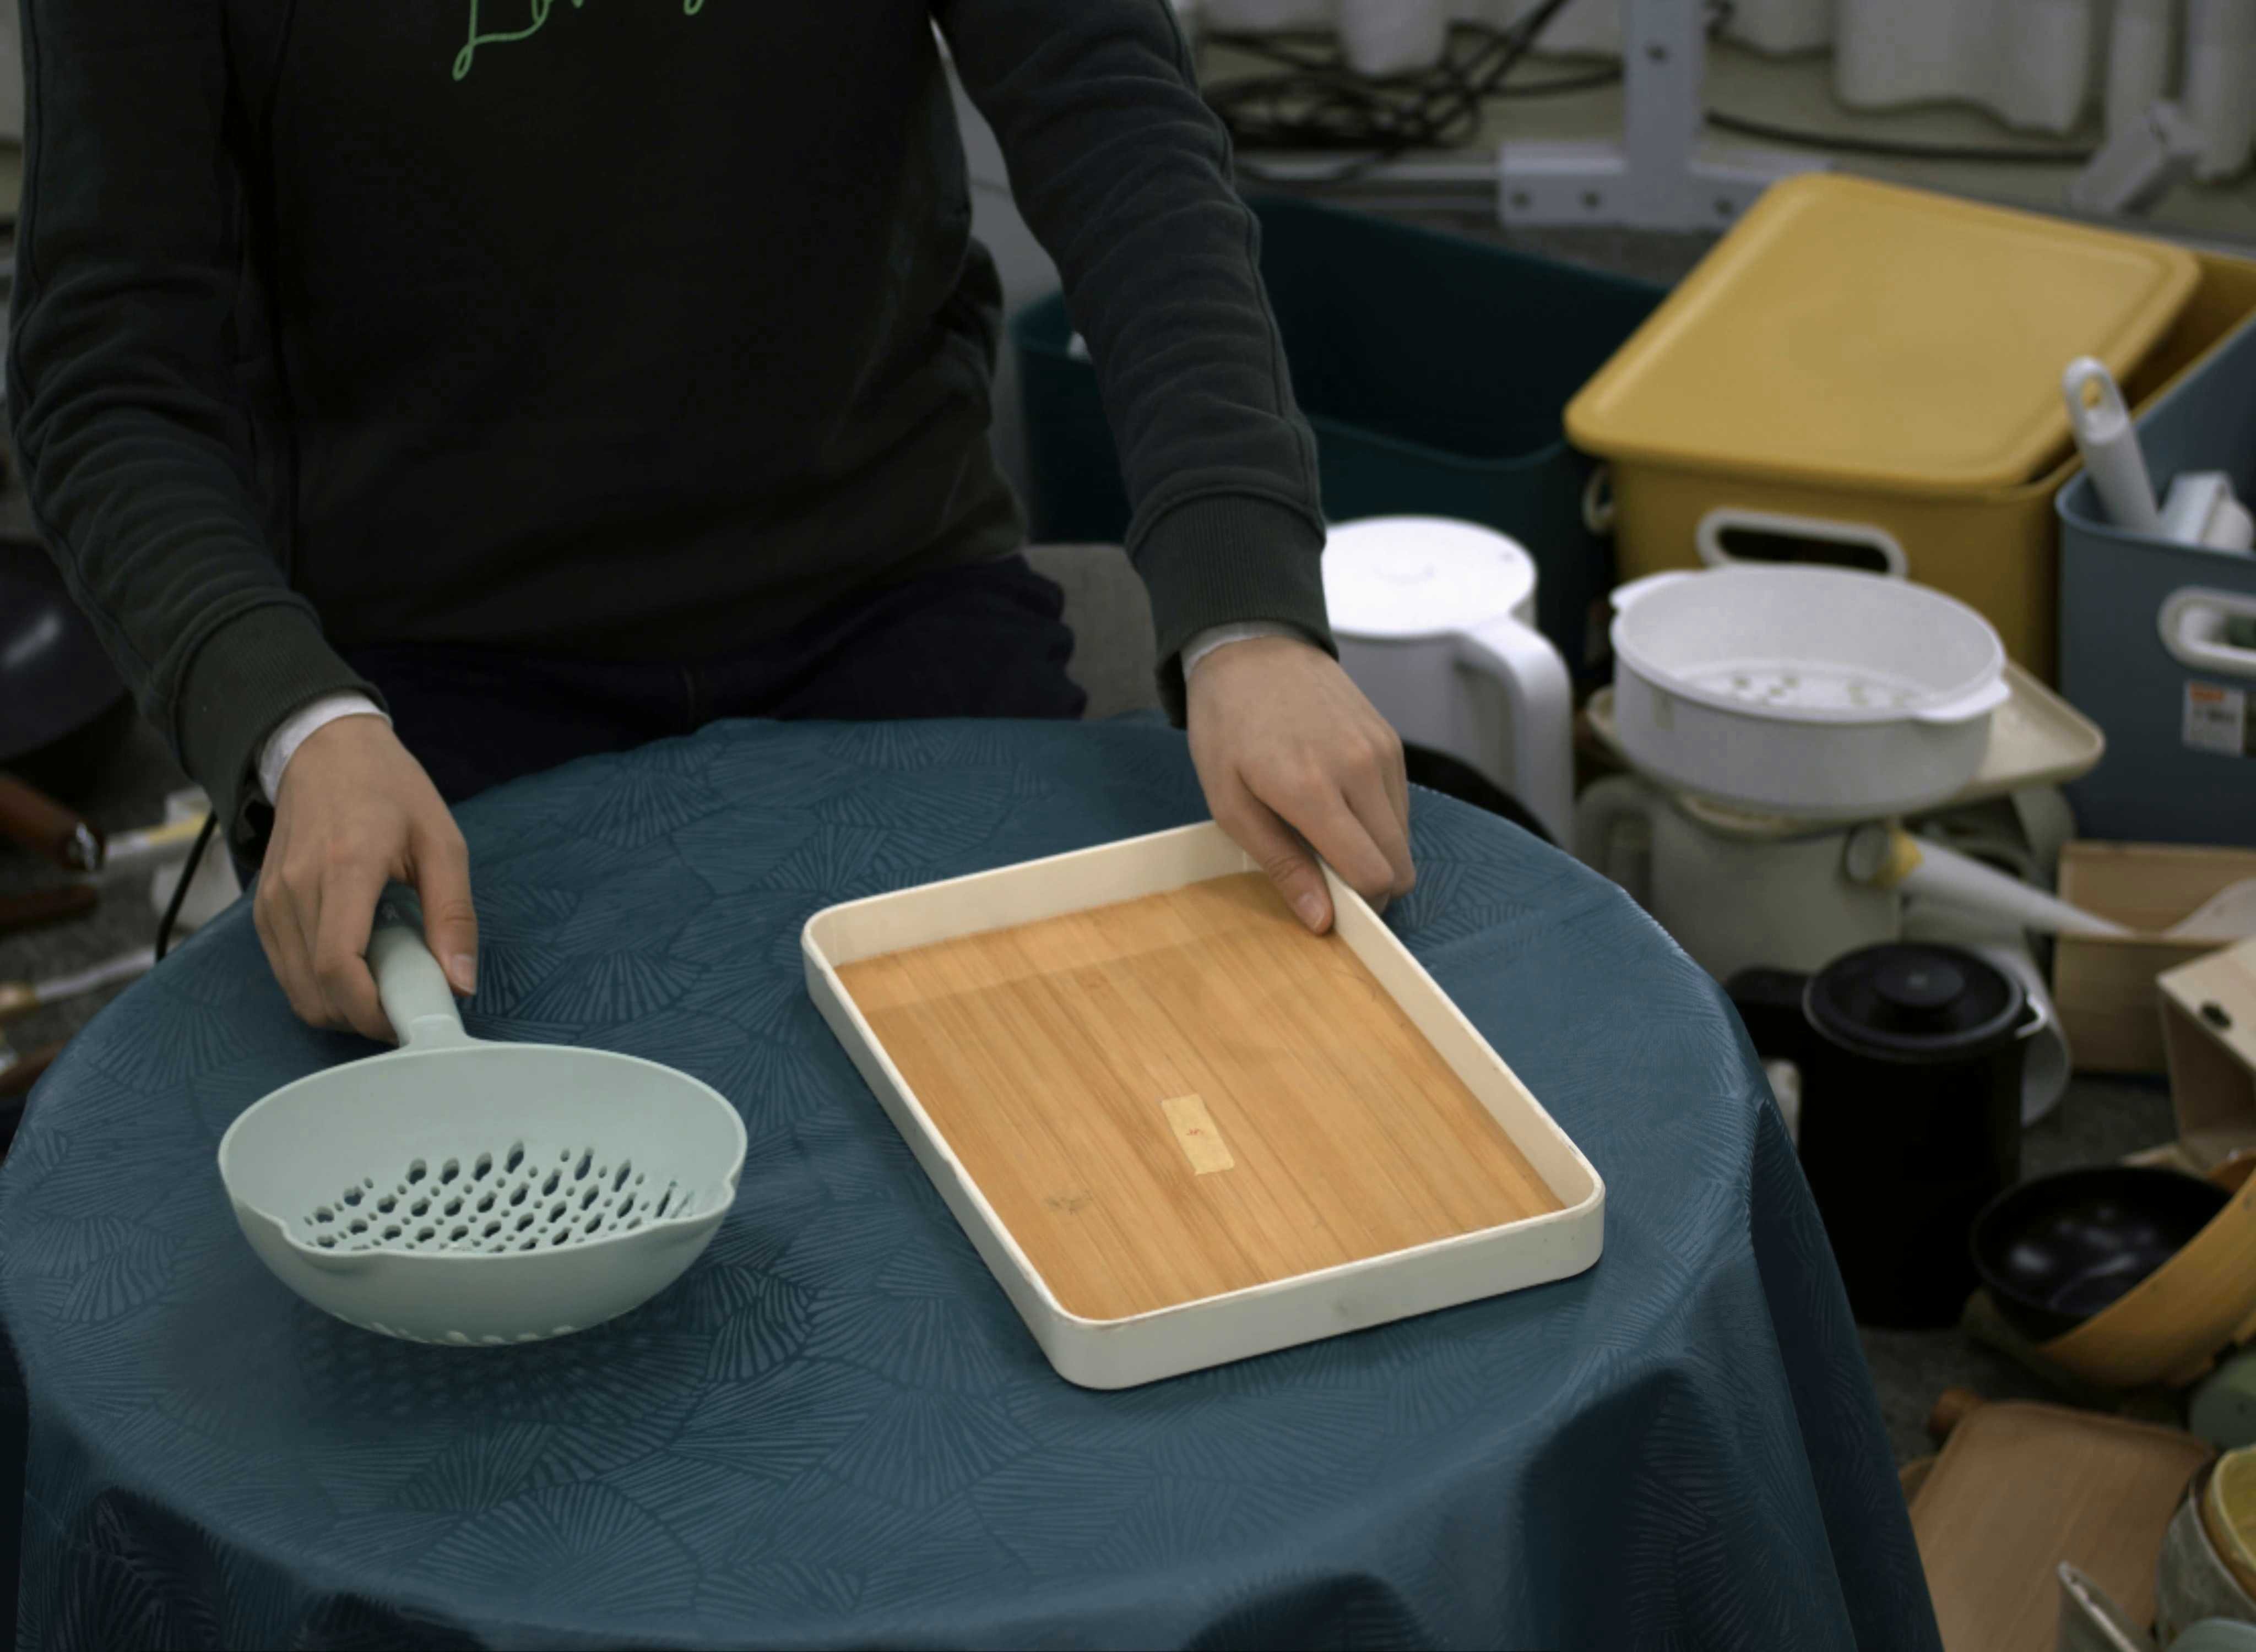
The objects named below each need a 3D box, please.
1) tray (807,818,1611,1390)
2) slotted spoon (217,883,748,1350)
[{"bbox_3d":[0.021,0.088,1.896,0.192,0.027,0.303,-12,29,-16],"label":"tray"},{"bbox_3d":[-0.230,0.082,1.888,0.169,0.074,0.363,-4,28,-14],"label":"slotted spoon"}]
